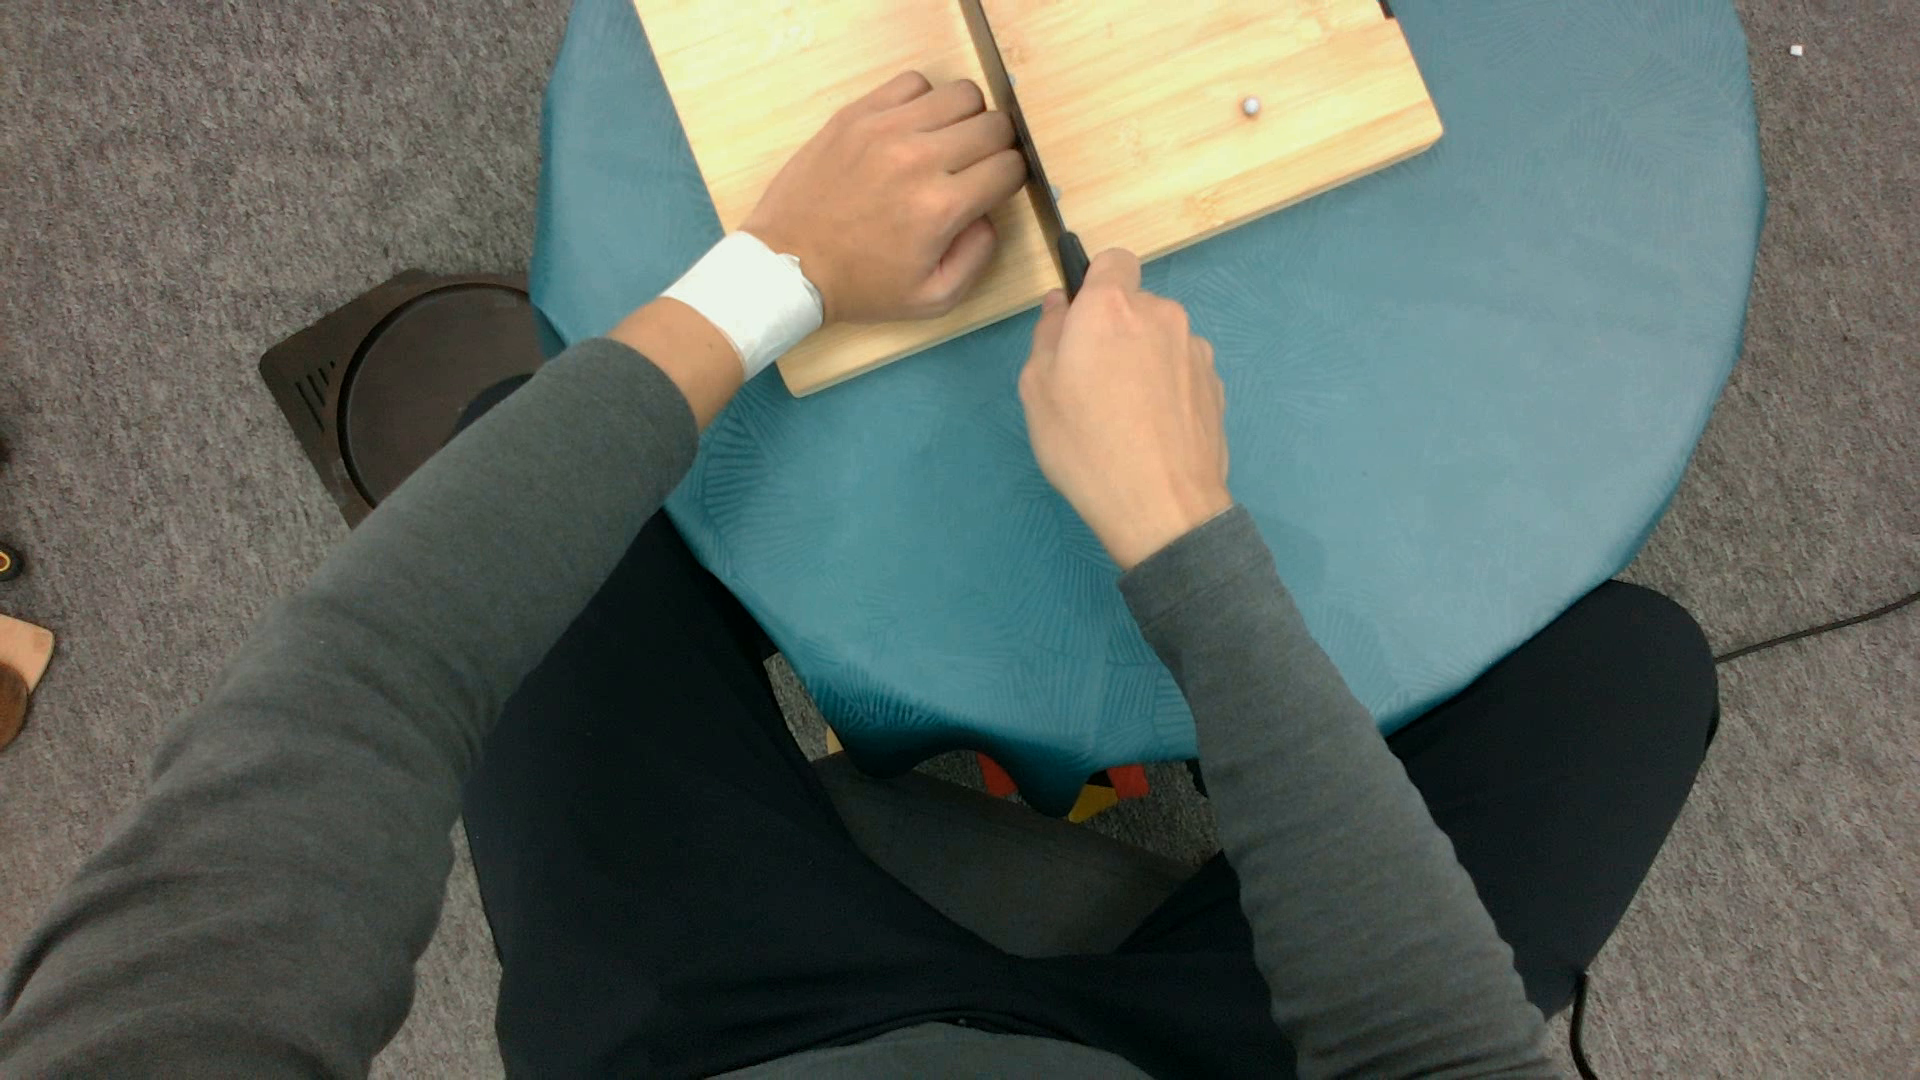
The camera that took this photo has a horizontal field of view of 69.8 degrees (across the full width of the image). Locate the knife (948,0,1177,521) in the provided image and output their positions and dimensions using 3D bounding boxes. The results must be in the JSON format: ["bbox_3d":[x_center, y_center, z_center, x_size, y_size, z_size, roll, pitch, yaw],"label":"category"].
[{"bbox_3d":[0.033,-0.151,0.608,0.021,0.081,0.302,-20,79,0],"label":"knife"}]

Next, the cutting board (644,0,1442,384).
[{"bbox_3d":[0.030,-0.249,0.679,0.349,0.023,0.251,-22,86,-3],"label":"cutting board"}]
